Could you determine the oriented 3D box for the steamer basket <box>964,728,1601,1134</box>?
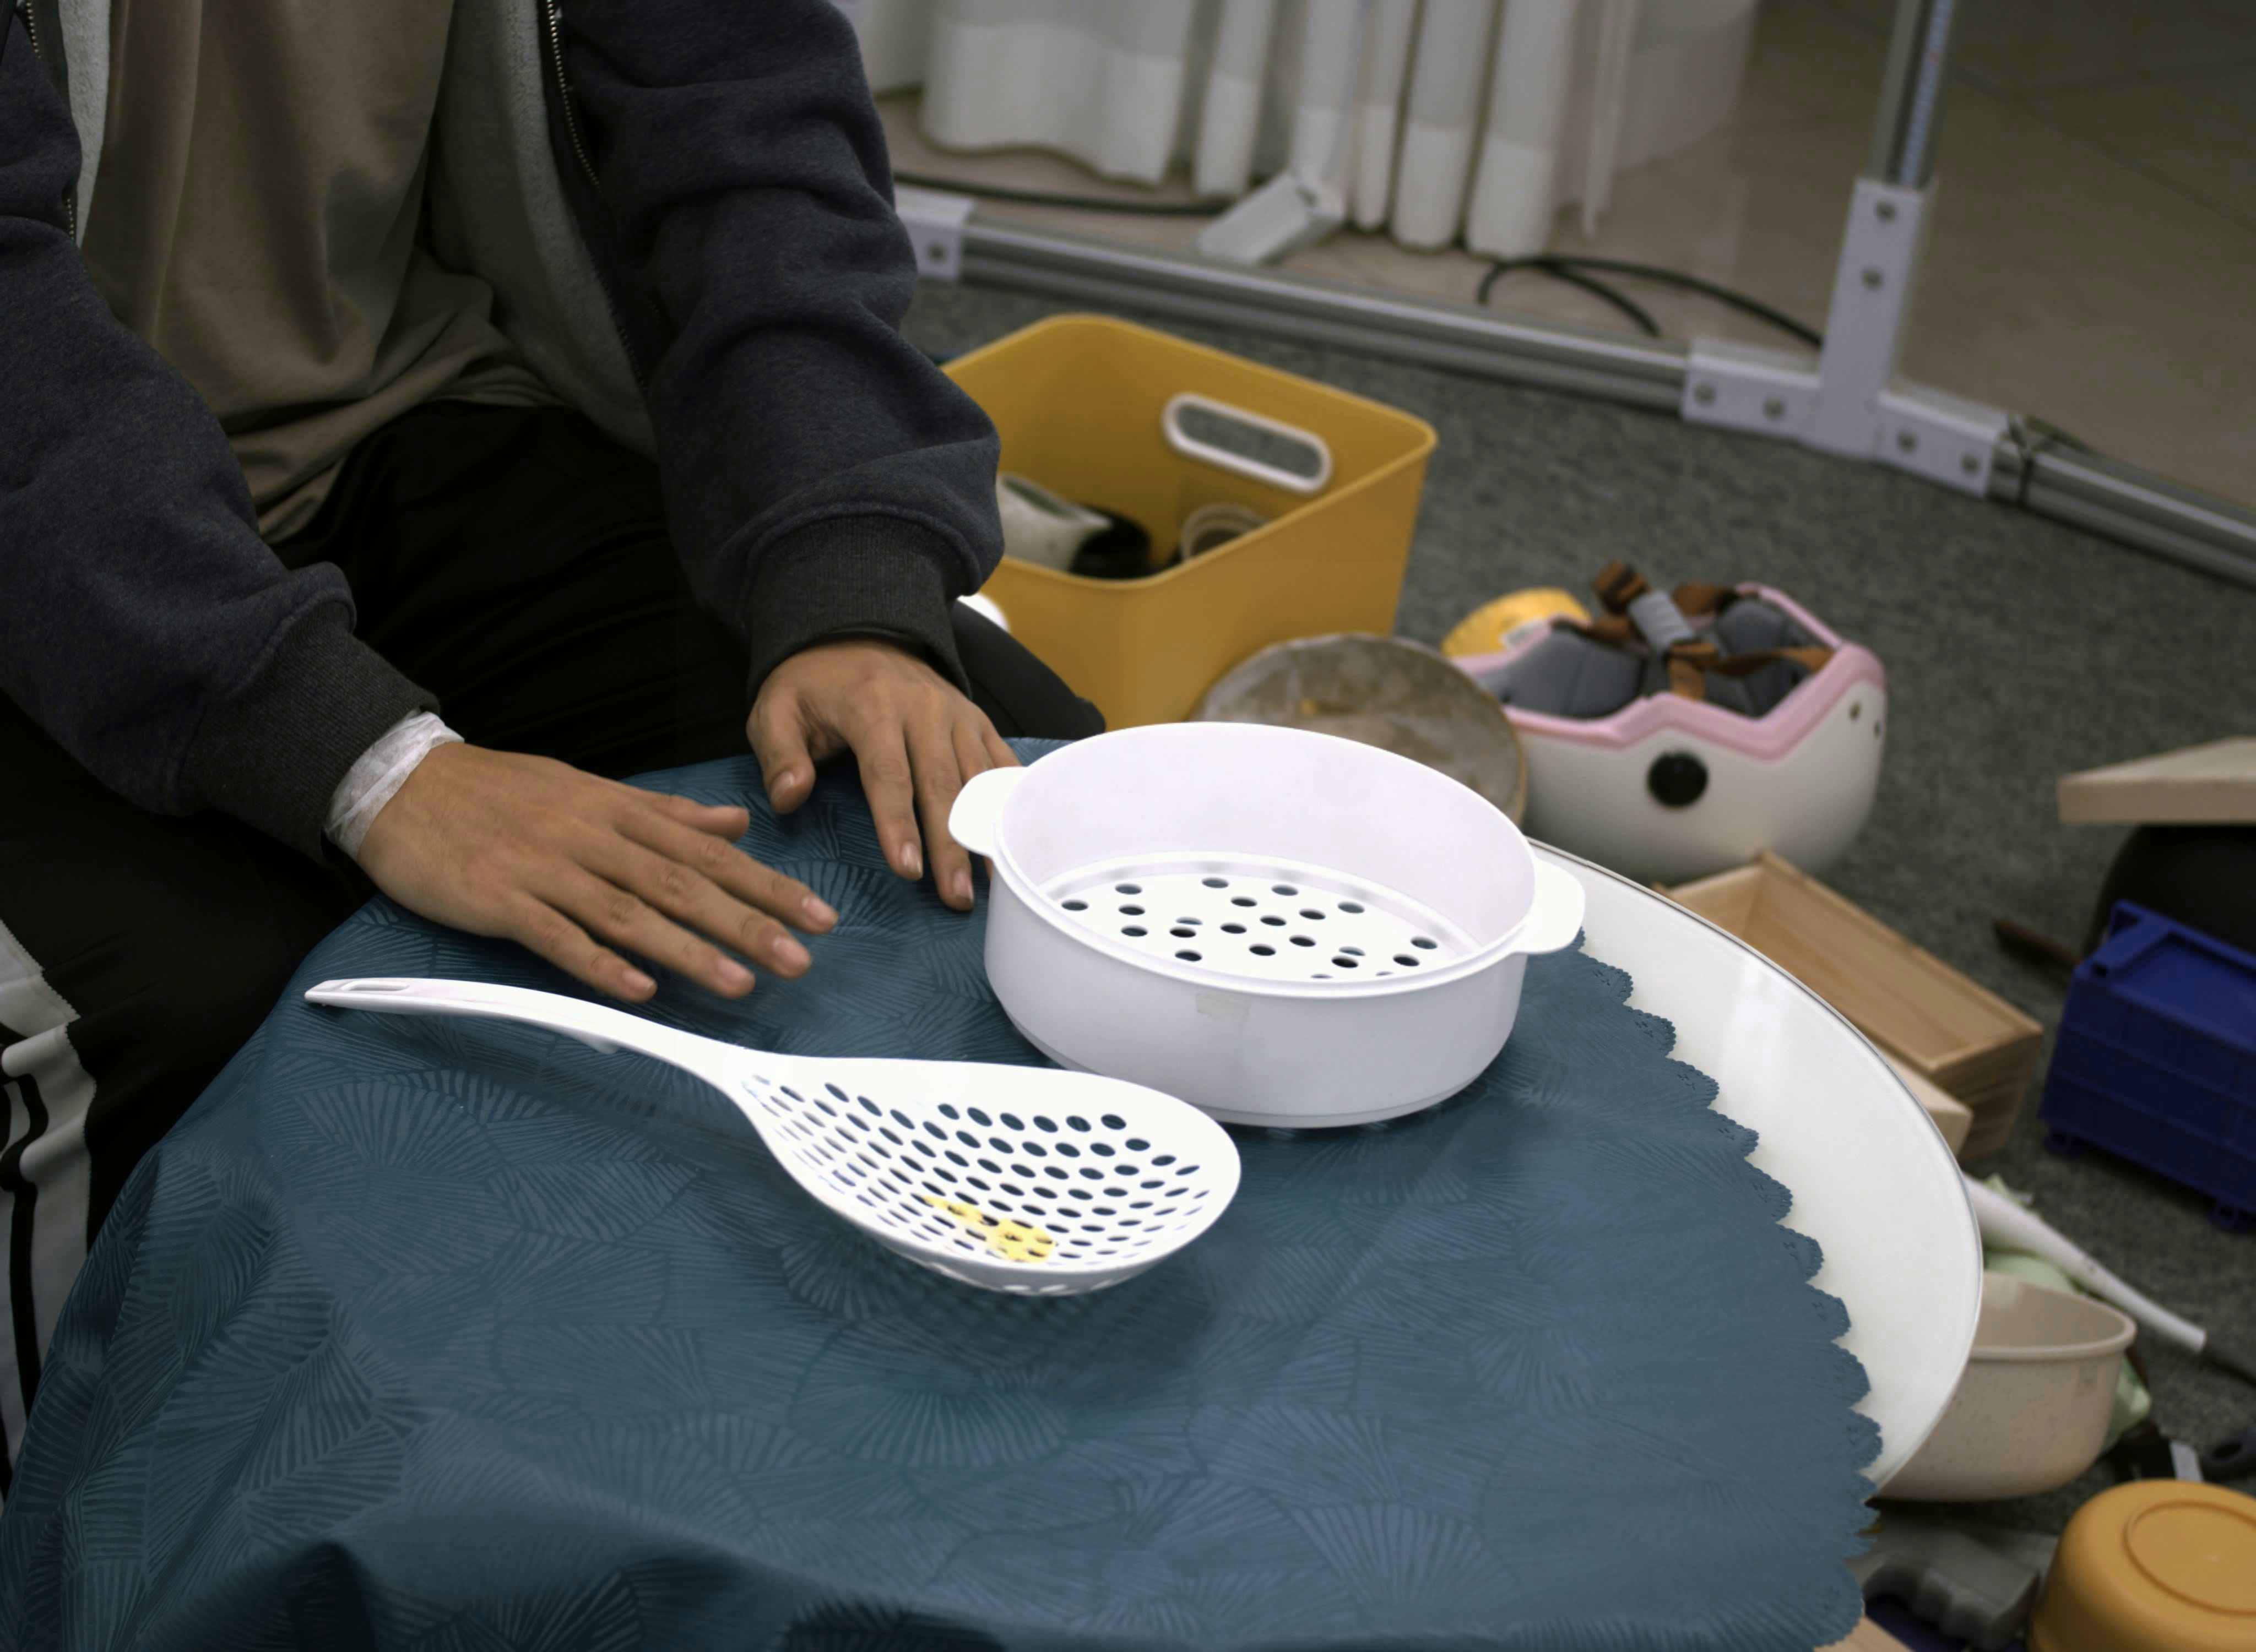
[{"bbox_3d":[0.051,0.038,1.908,0.230,0.069,0.202,12,26,6],"label":"steamer basket"}]

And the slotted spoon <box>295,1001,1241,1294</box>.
[{"bbox_3d":[-0.129,0.093,1.788,0.349,0.050,0.137,18,32,22],"label":"slotted spoon"}]
